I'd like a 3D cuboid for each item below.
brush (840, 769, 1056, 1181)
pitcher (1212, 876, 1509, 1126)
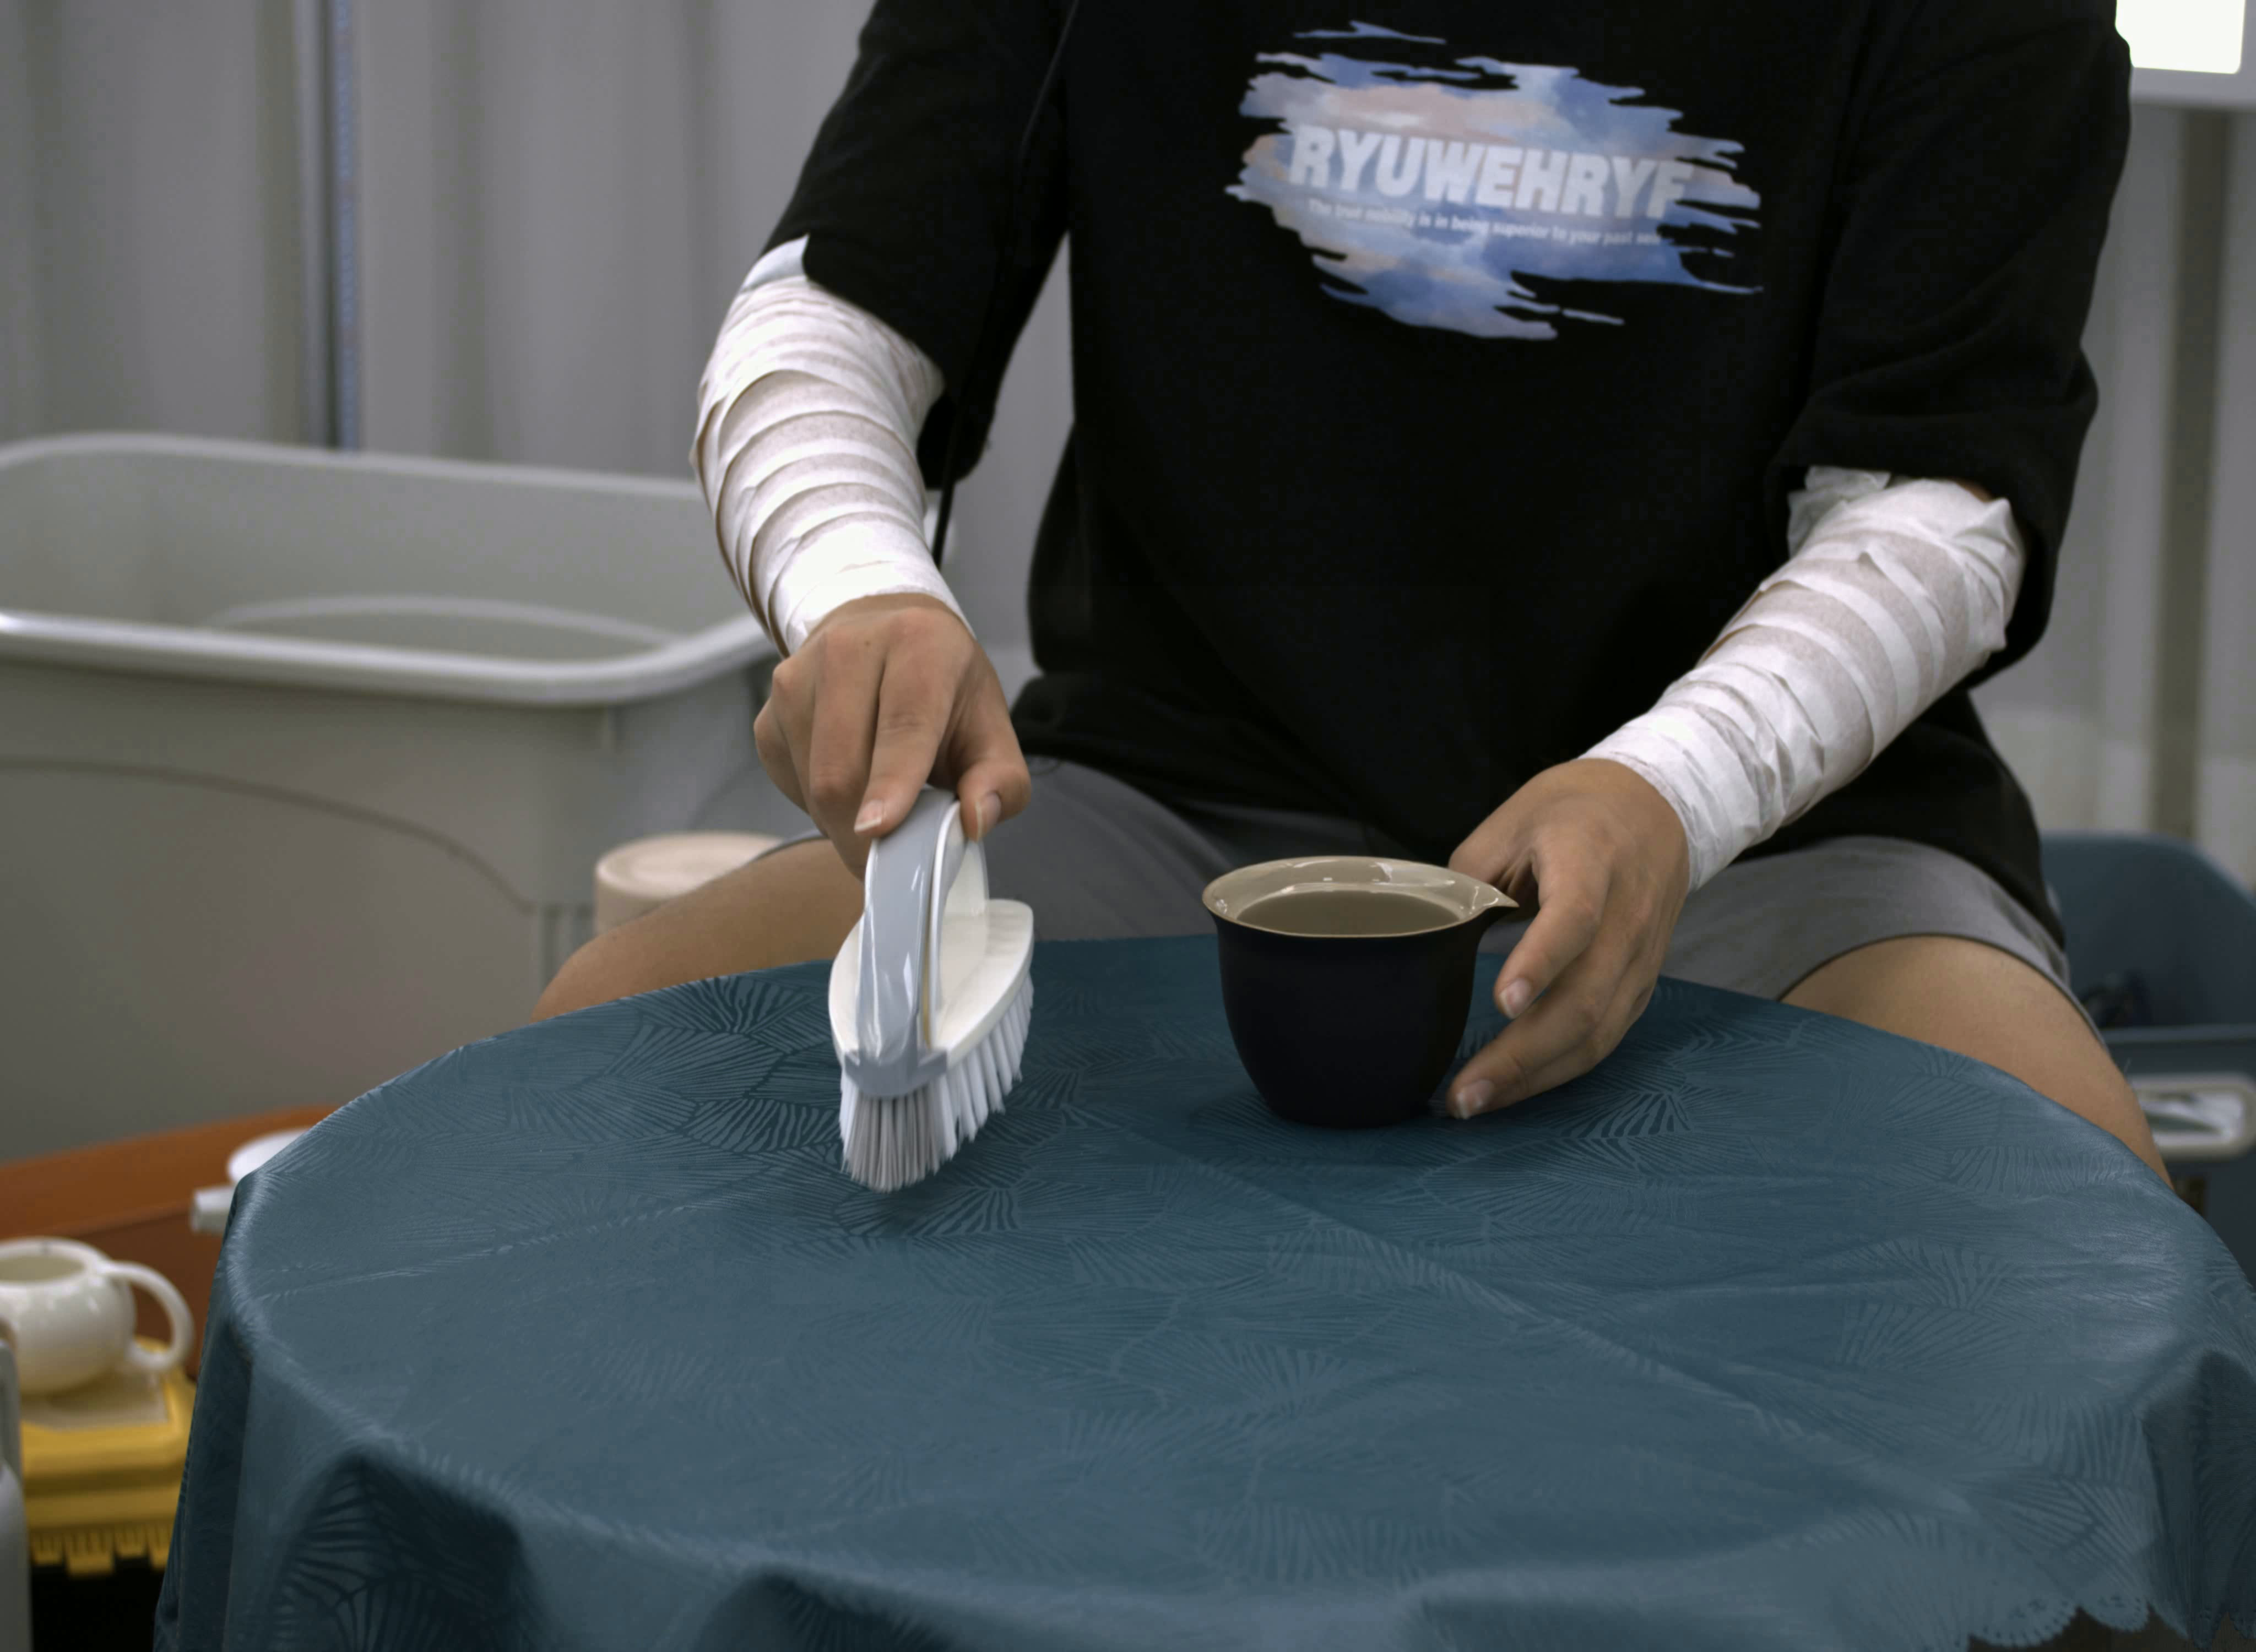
[{"bbox_3d":[-0.063,0.040,1.646,0.061,0.095,0.175,-5,19,9],"label":"brush"},{"bbox_3d":[0.073,0.056,1.696,0.096,0.072,0.083,2,14,-5],"label":"pitcher"}]
